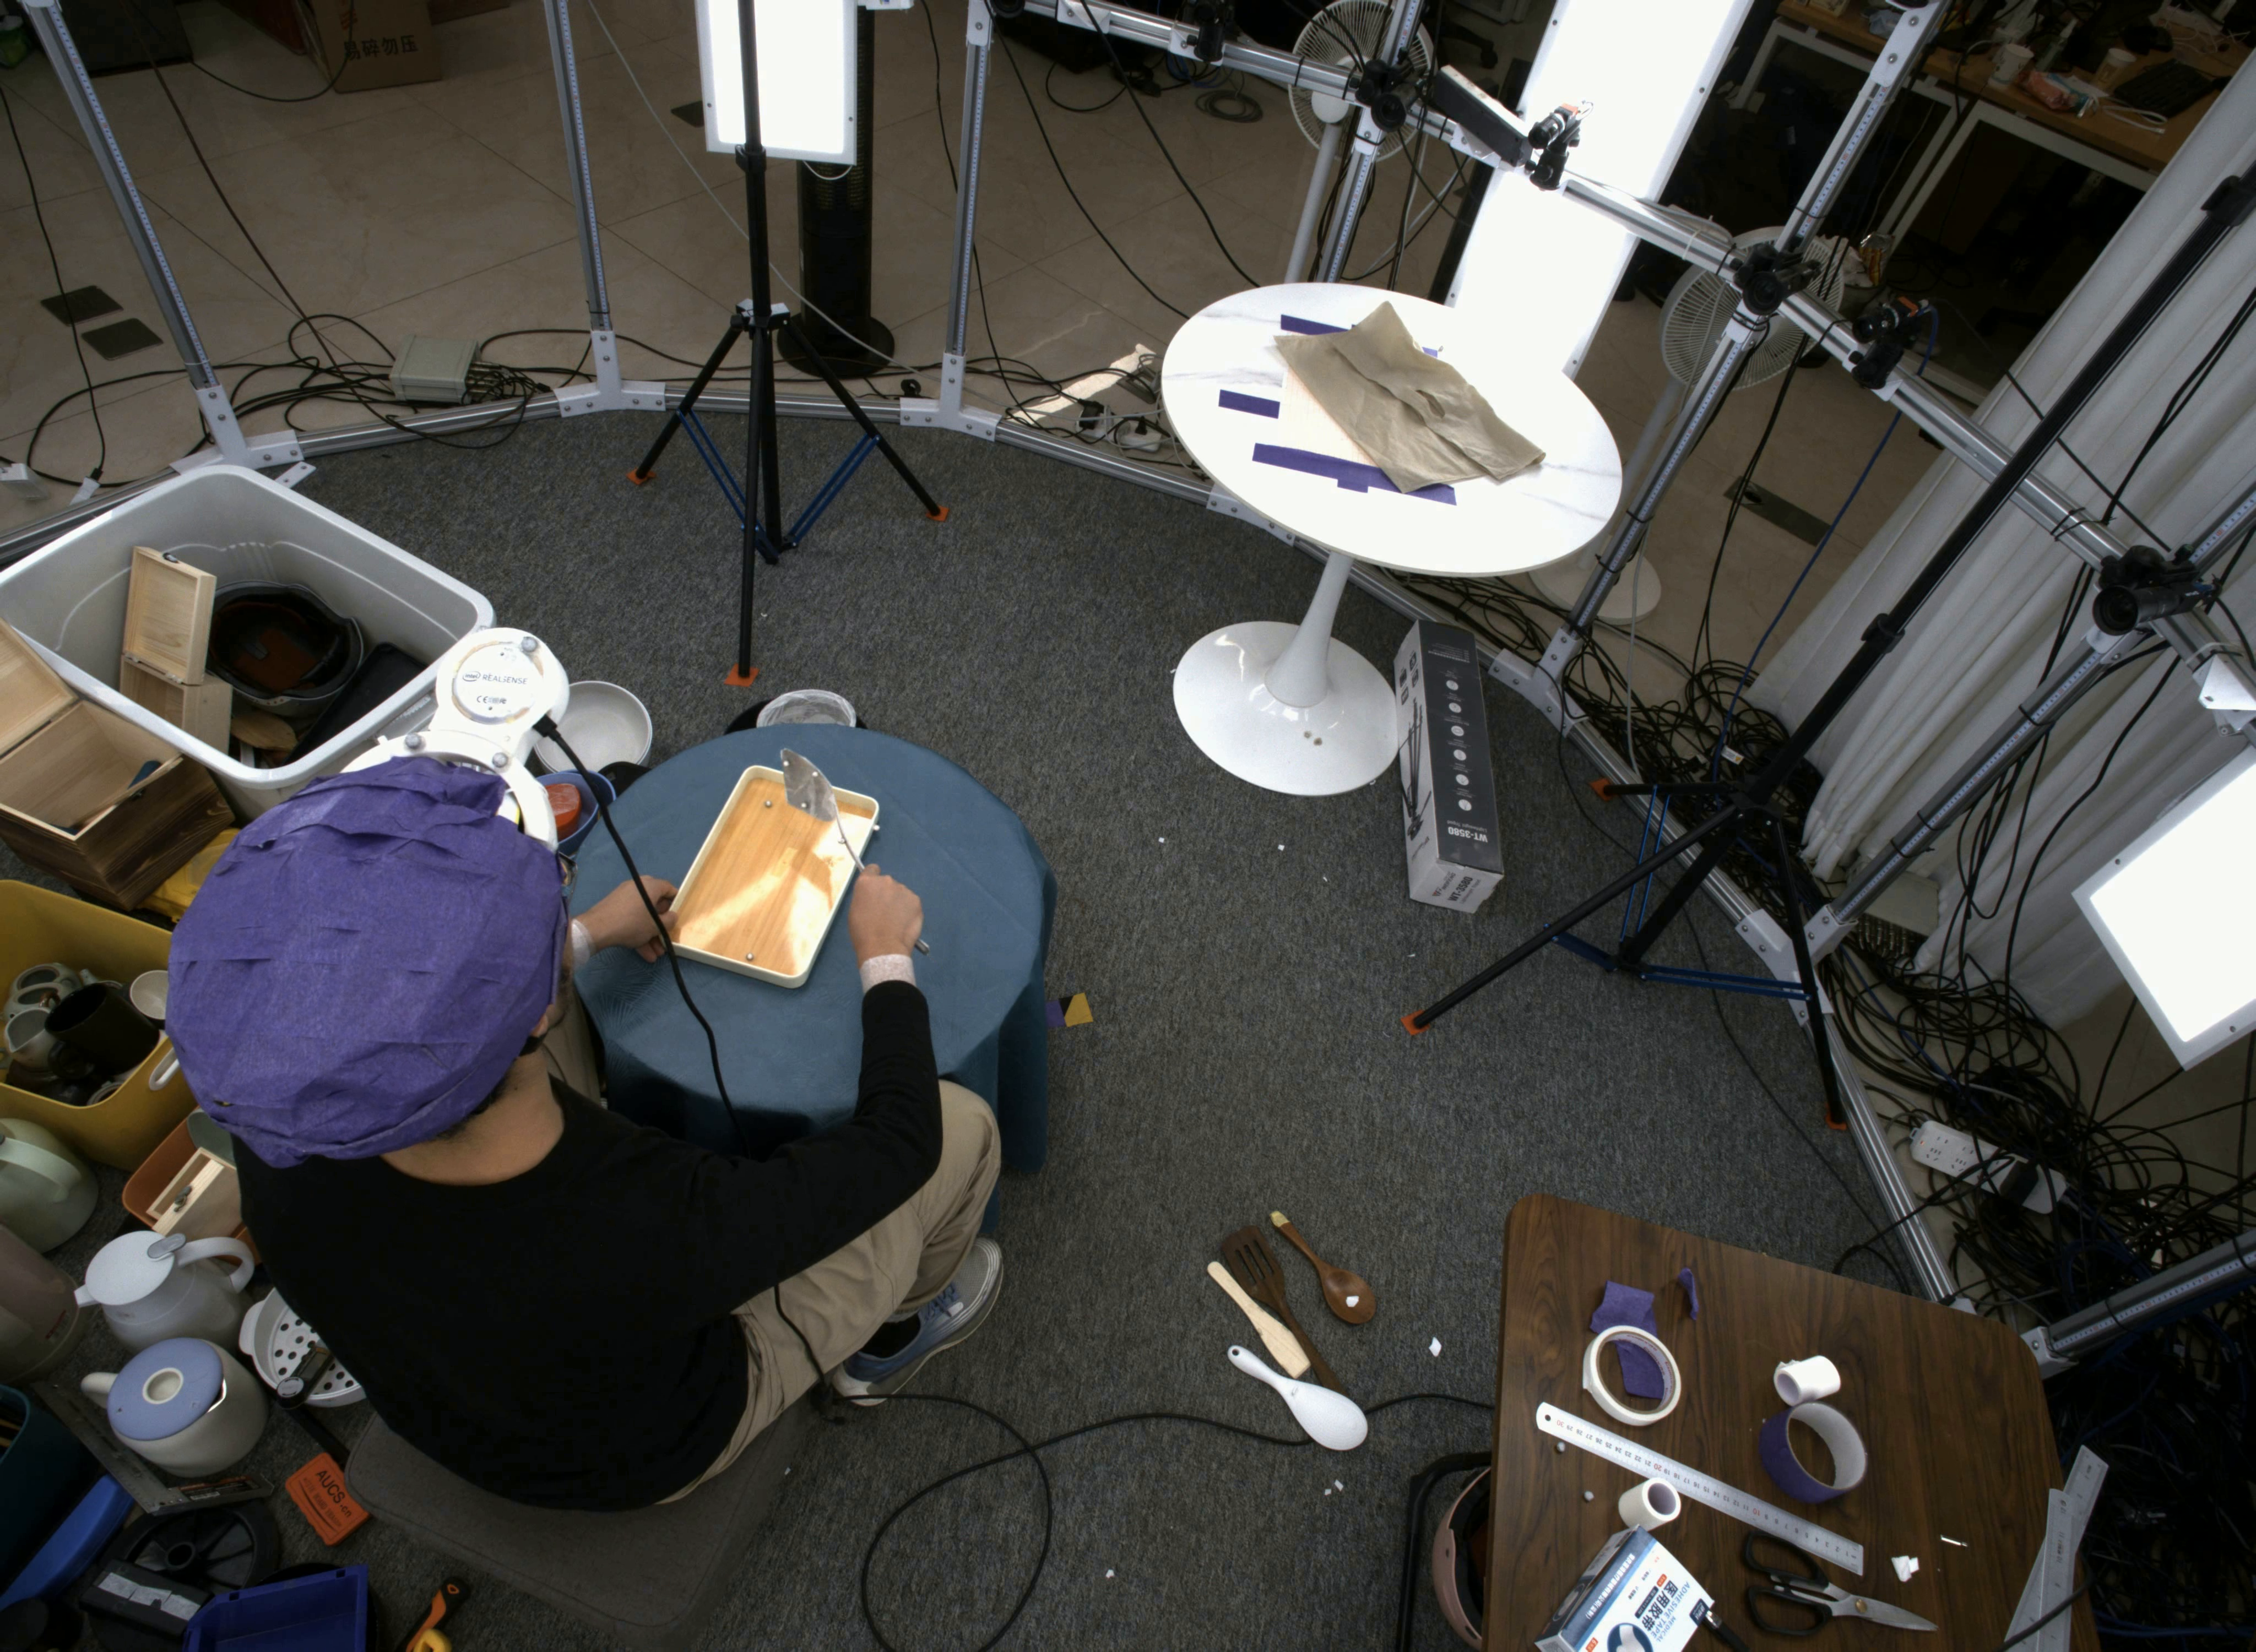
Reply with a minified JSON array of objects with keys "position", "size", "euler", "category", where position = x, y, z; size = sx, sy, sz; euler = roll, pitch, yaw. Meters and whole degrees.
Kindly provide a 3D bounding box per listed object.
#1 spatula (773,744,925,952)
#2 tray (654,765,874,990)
[{"position":[-0.343,0.029,1.569],"size":[0.045,0.101,0.353],"euler":[-19,50,-27],"category":"spatula"},{"position":[-0.458,0.058,1.649],"size":[0.190,0.028,0.296],"euler":[17,52,-2],"category":"tray"}]
